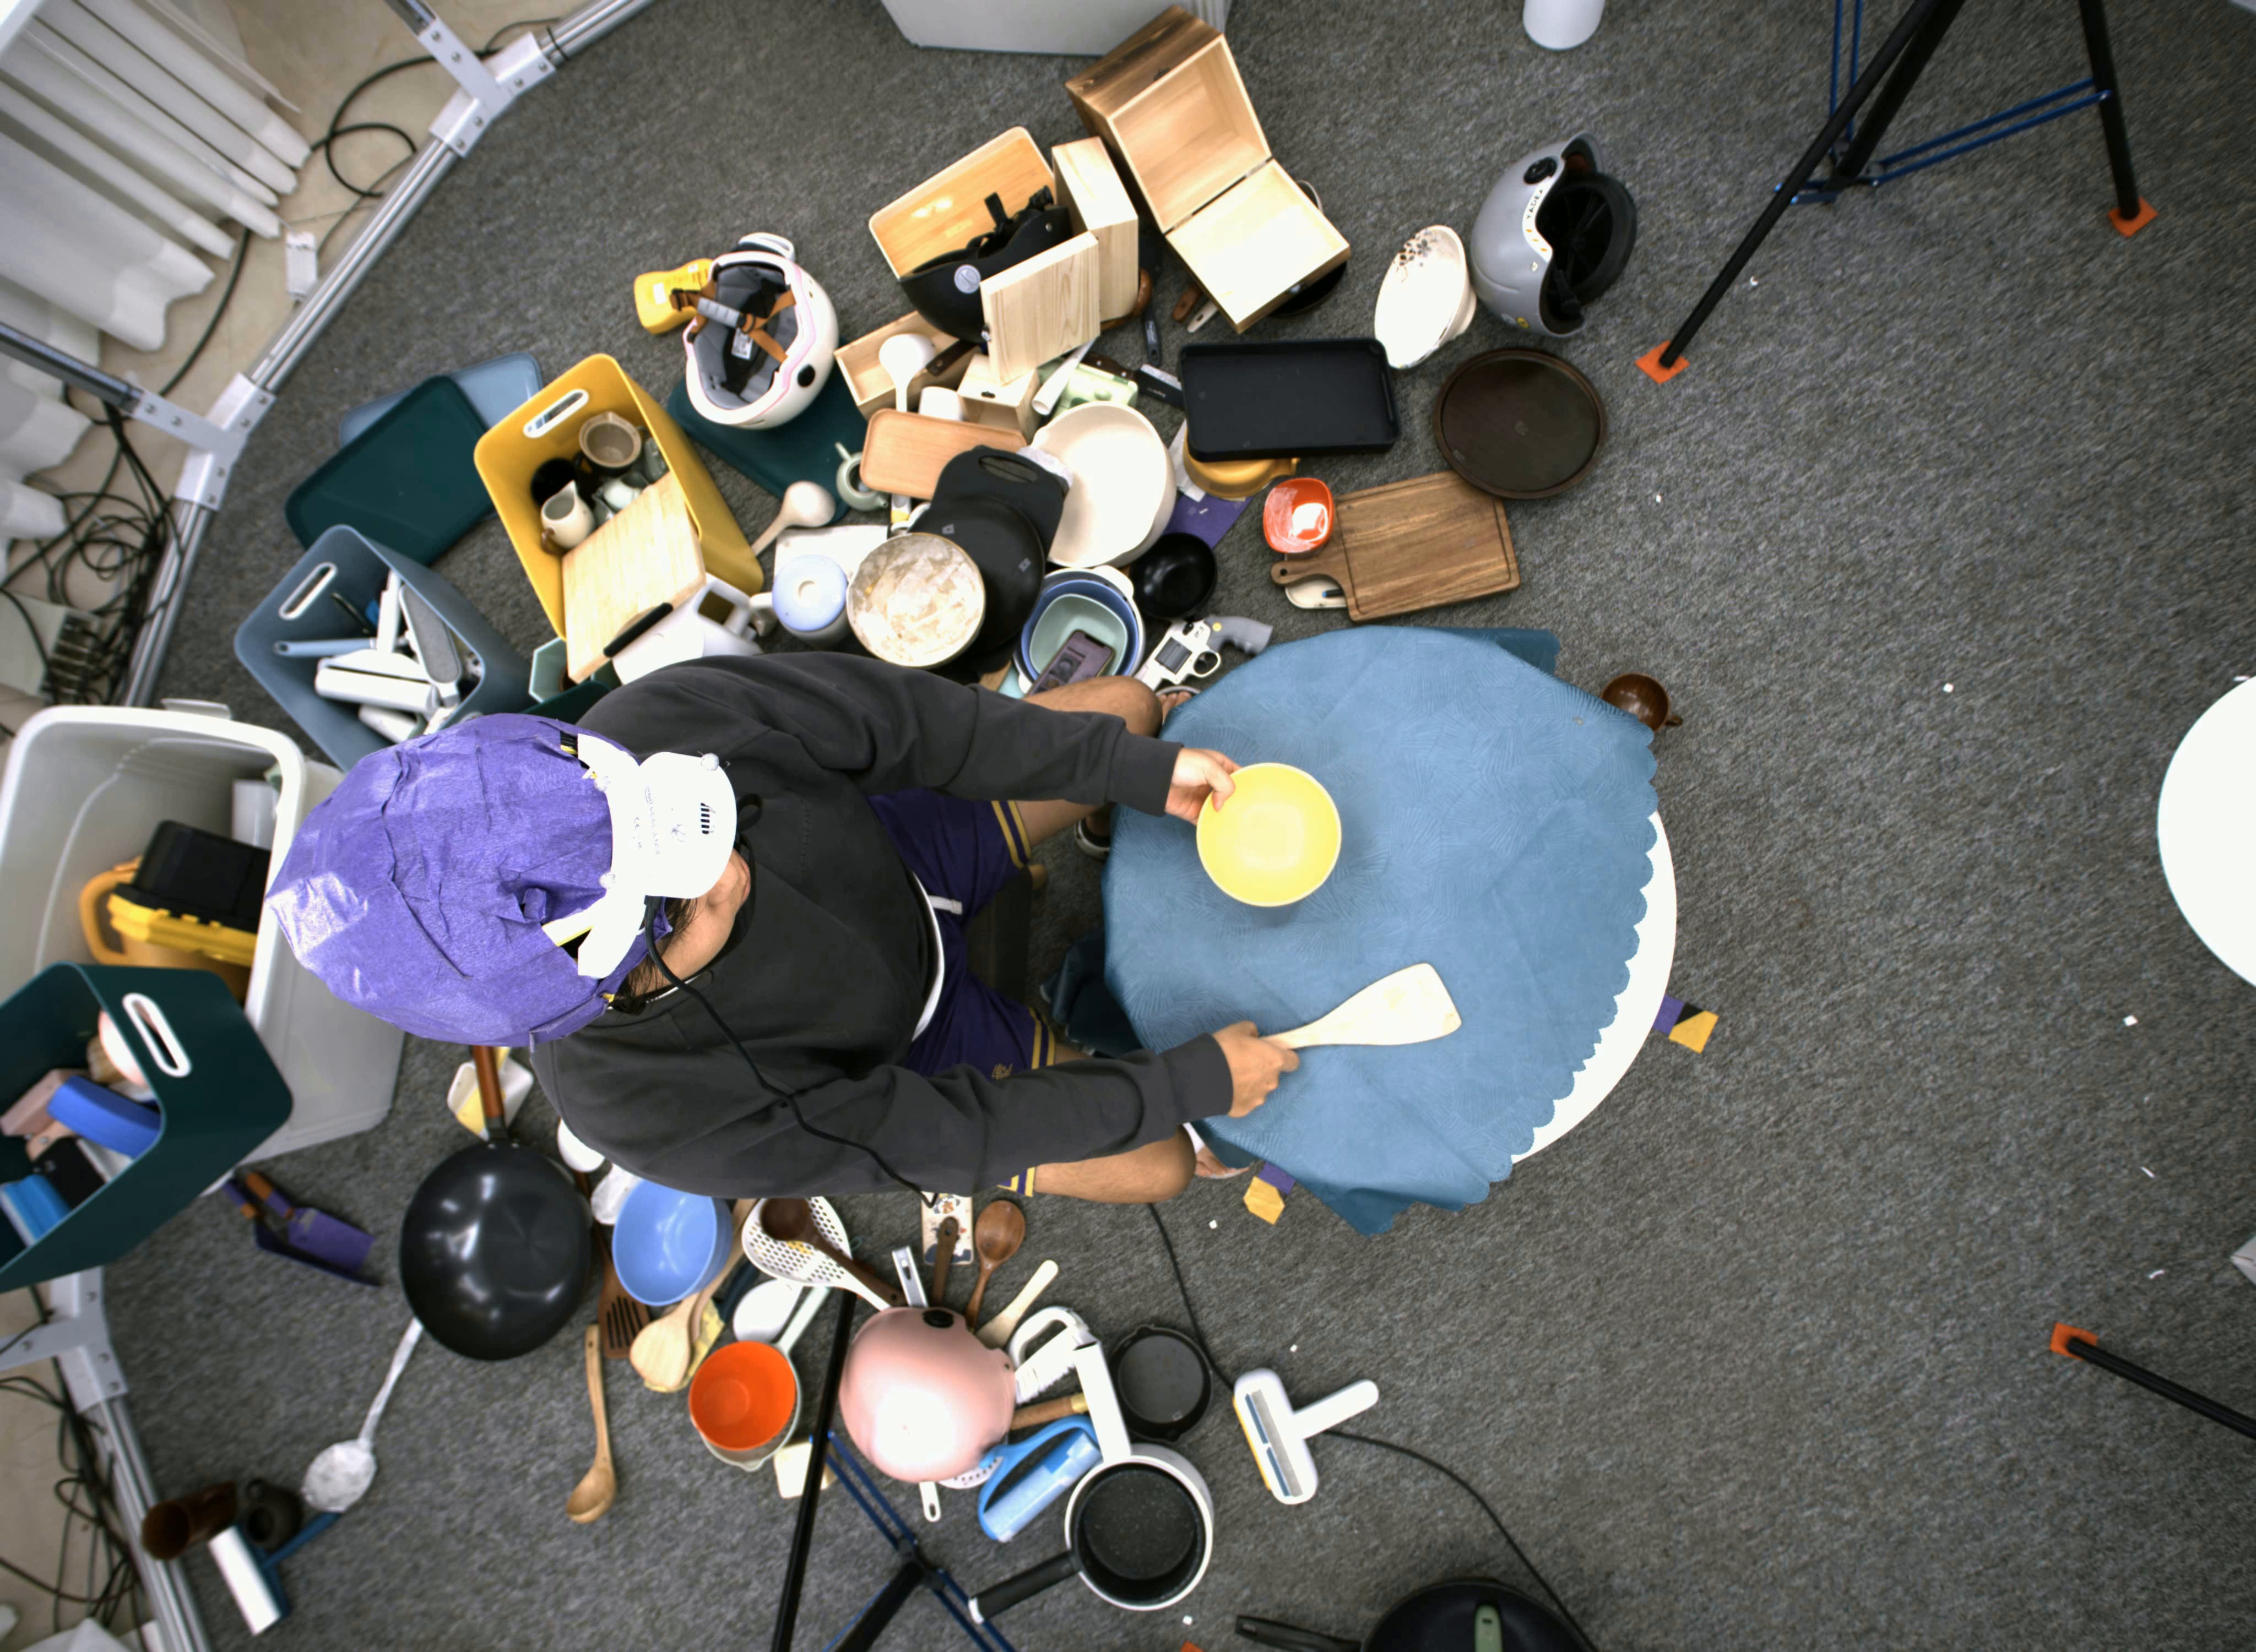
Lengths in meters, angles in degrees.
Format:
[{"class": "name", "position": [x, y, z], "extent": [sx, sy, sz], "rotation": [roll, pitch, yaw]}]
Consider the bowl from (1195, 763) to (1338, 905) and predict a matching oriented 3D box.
[{"class": "bowl", "position": [0.142, 0.008, 1.422], "extent": [0.146, 0.060, 0.145], "rotation": [0, 93, 7]}]

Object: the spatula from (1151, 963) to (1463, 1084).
[{"class": "spatula", "position": [0.182, 0.217, 1.453], "extent": [0.328, 0.016, 0.079], "rotation": [-15, 84, 4]}]
